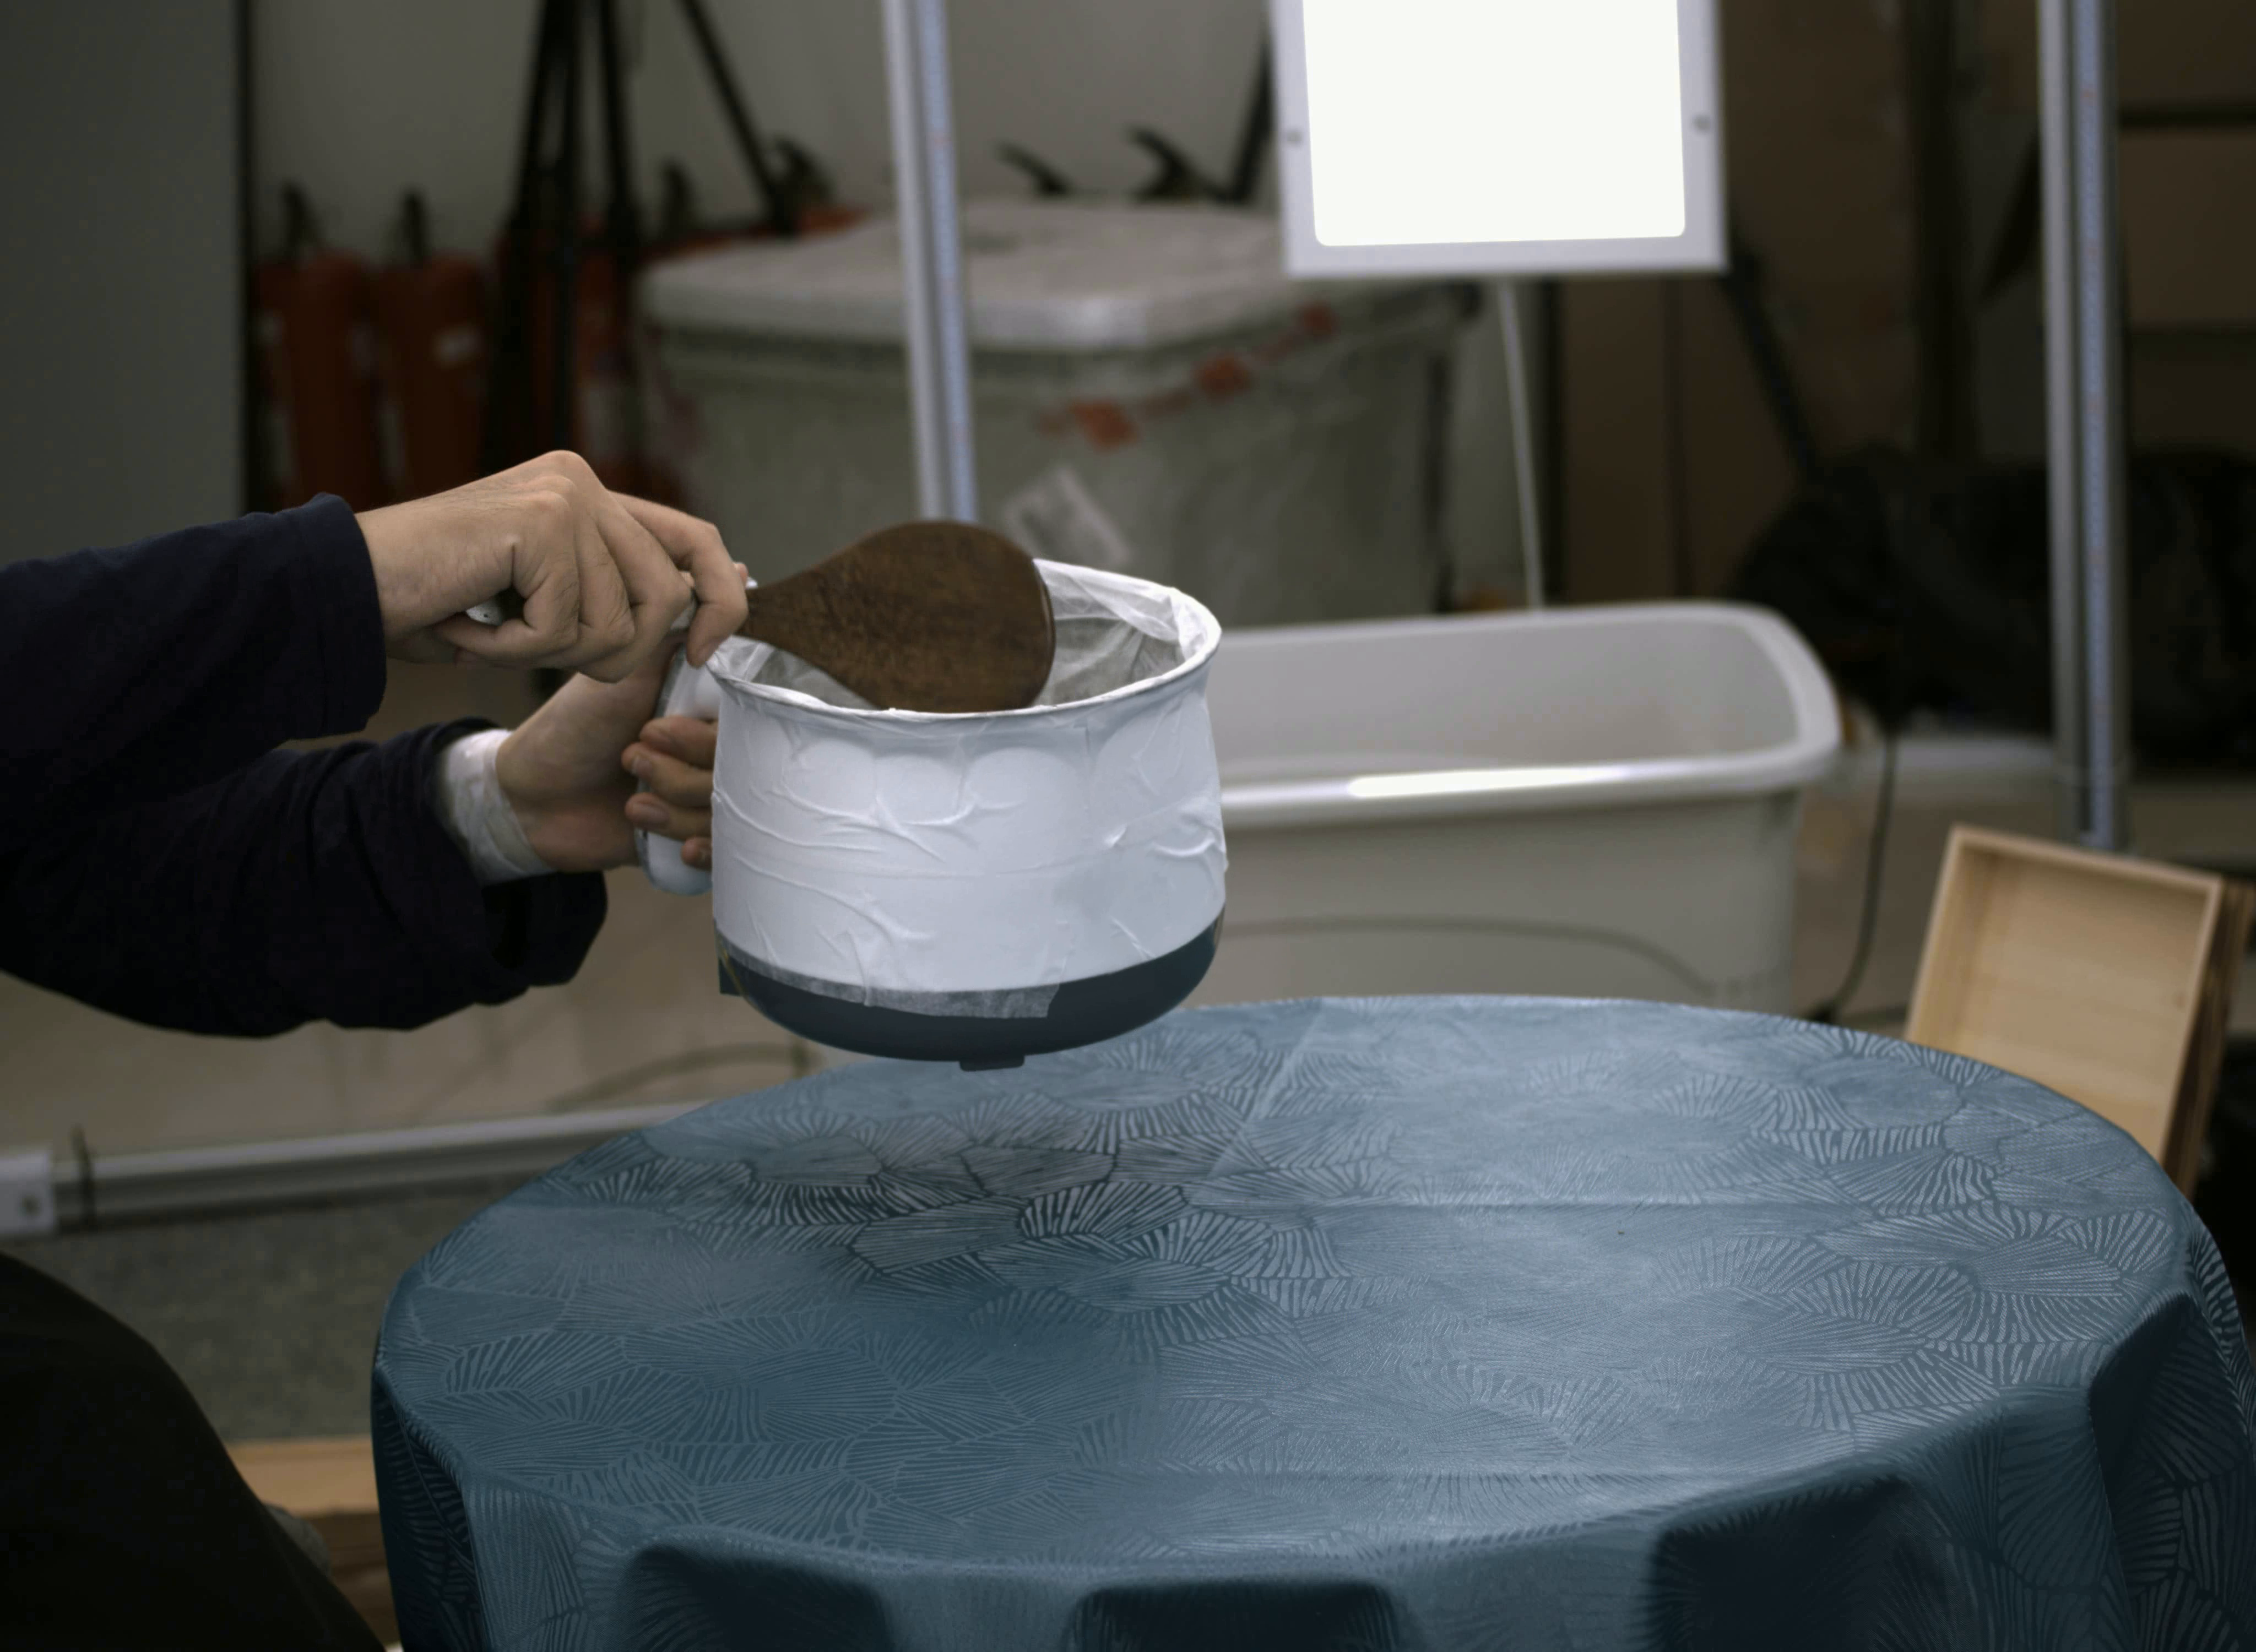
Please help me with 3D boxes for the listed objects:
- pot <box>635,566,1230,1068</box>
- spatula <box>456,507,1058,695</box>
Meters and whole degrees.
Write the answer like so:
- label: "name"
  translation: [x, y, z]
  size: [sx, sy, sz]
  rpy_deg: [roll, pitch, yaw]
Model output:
- label: "pot"
  translation: [-0.077, -0.011, 1.906]
  size: [0.238, 0.137, 0.174]
  rpy_deg: [13, 22, 35]
- label: "spatula"
  translation: [-0.121, -0.073, 1.834]
  size: [0.211, 0.072, 0.009]
  rpy_deg: [0, -9, -25]
